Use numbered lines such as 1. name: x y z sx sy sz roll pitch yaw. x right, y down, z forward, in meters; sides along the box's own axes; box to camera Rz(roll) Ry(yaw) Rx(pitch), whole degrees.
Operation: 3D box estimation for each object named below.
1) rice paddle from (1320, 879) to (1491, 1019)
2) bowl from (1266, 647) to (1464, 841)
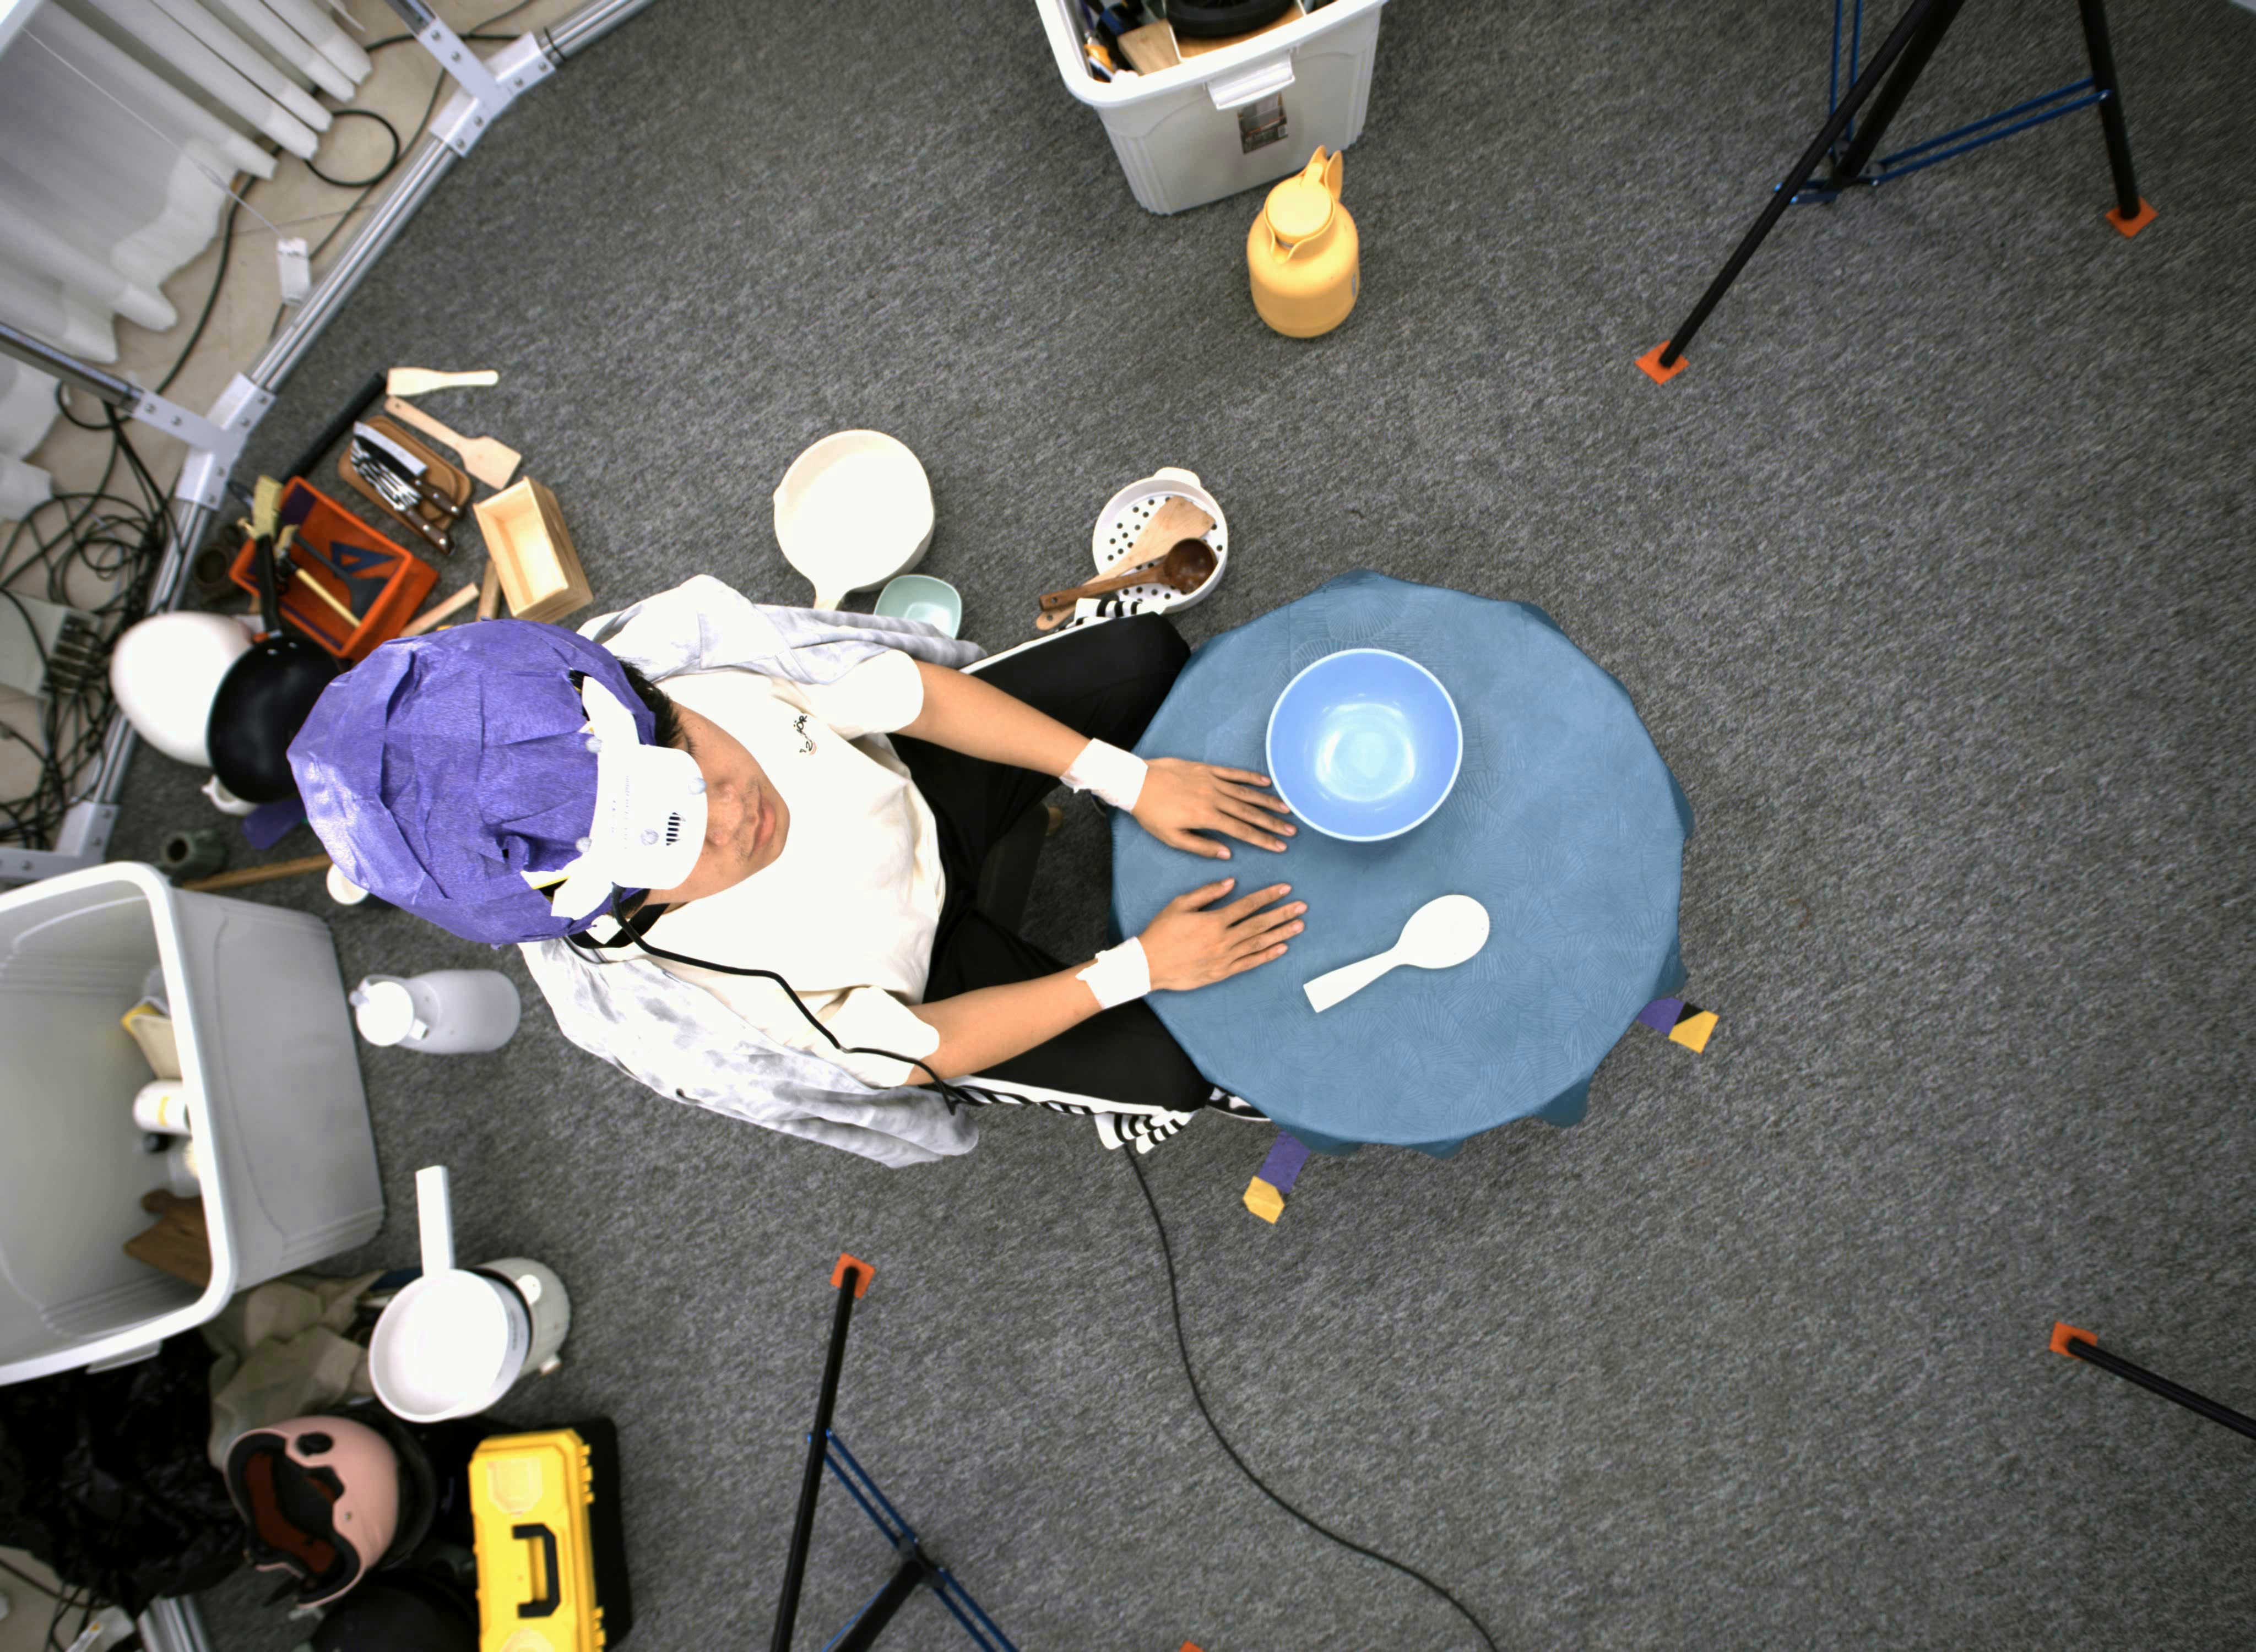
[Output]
1. rice paddle: 0.290 0.127 1.441 0.207 0.029 0.068 -38 68 10
2. bowl: 0.243 -0.080 1.422 0.197 0.095 0.196 -1 87 9
